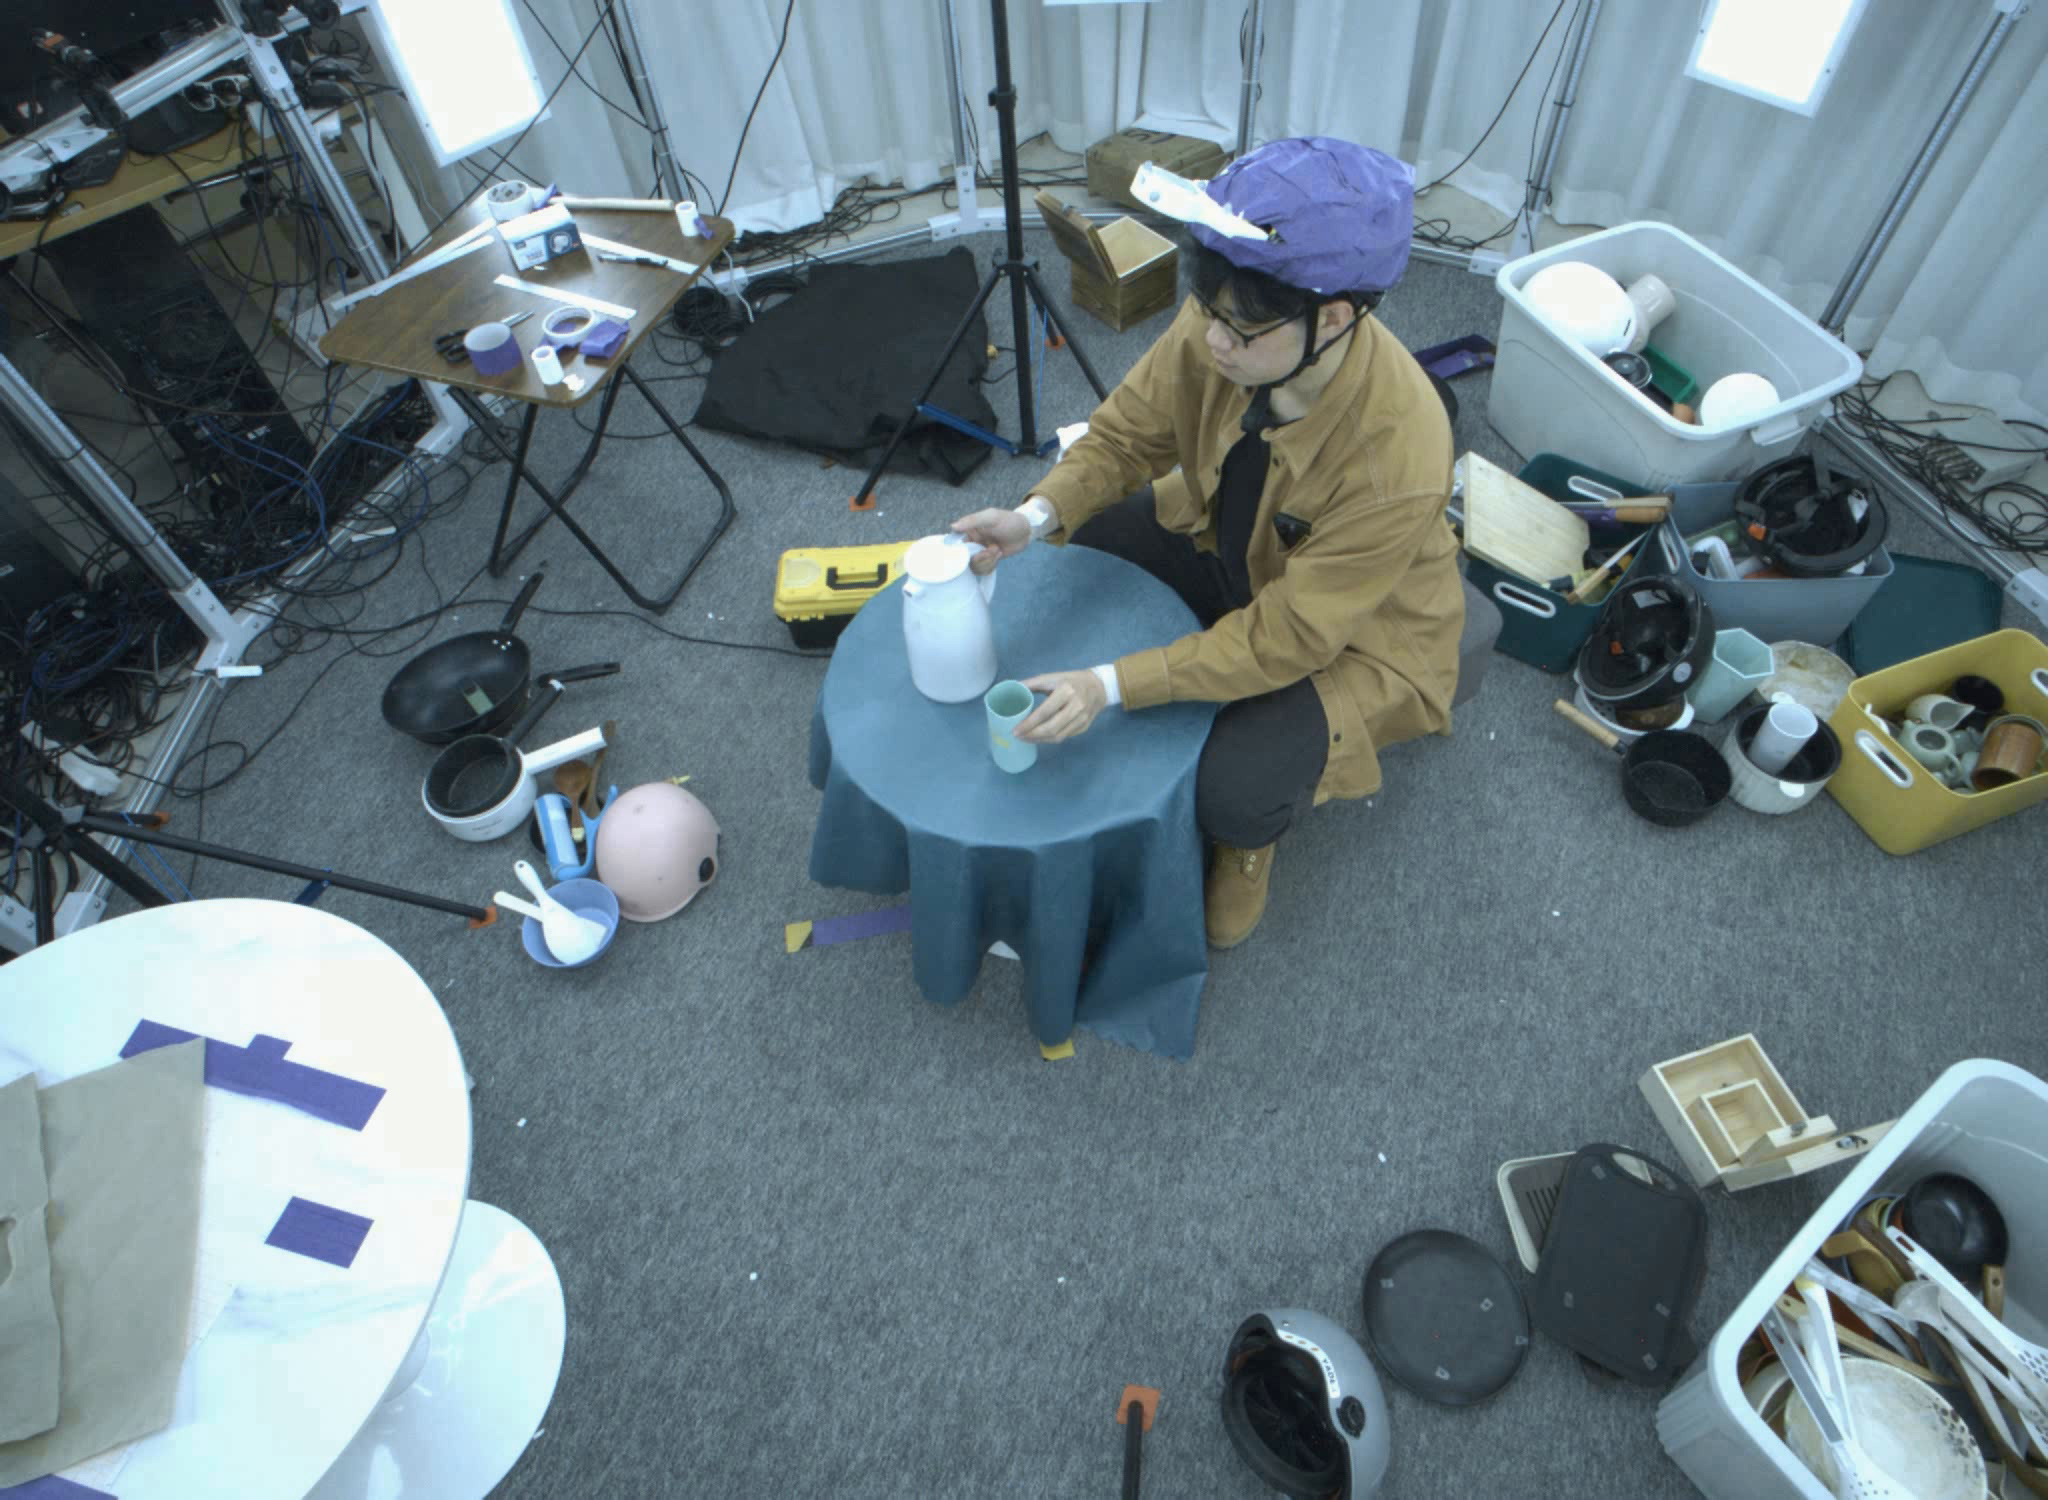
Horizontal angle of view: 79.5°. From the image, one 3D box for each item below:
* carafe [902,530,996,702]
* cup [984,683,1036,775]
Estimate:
[{"bbox_3d":[-0.104,-0.209,1.782,0.130,0.251,0.168,32,61,24],"label":"carafe"},{"bbox_3d":[-0.017,-0.029,1.727,0.066,0.134,0.066,-1,55,3],"label":"cup"}]
